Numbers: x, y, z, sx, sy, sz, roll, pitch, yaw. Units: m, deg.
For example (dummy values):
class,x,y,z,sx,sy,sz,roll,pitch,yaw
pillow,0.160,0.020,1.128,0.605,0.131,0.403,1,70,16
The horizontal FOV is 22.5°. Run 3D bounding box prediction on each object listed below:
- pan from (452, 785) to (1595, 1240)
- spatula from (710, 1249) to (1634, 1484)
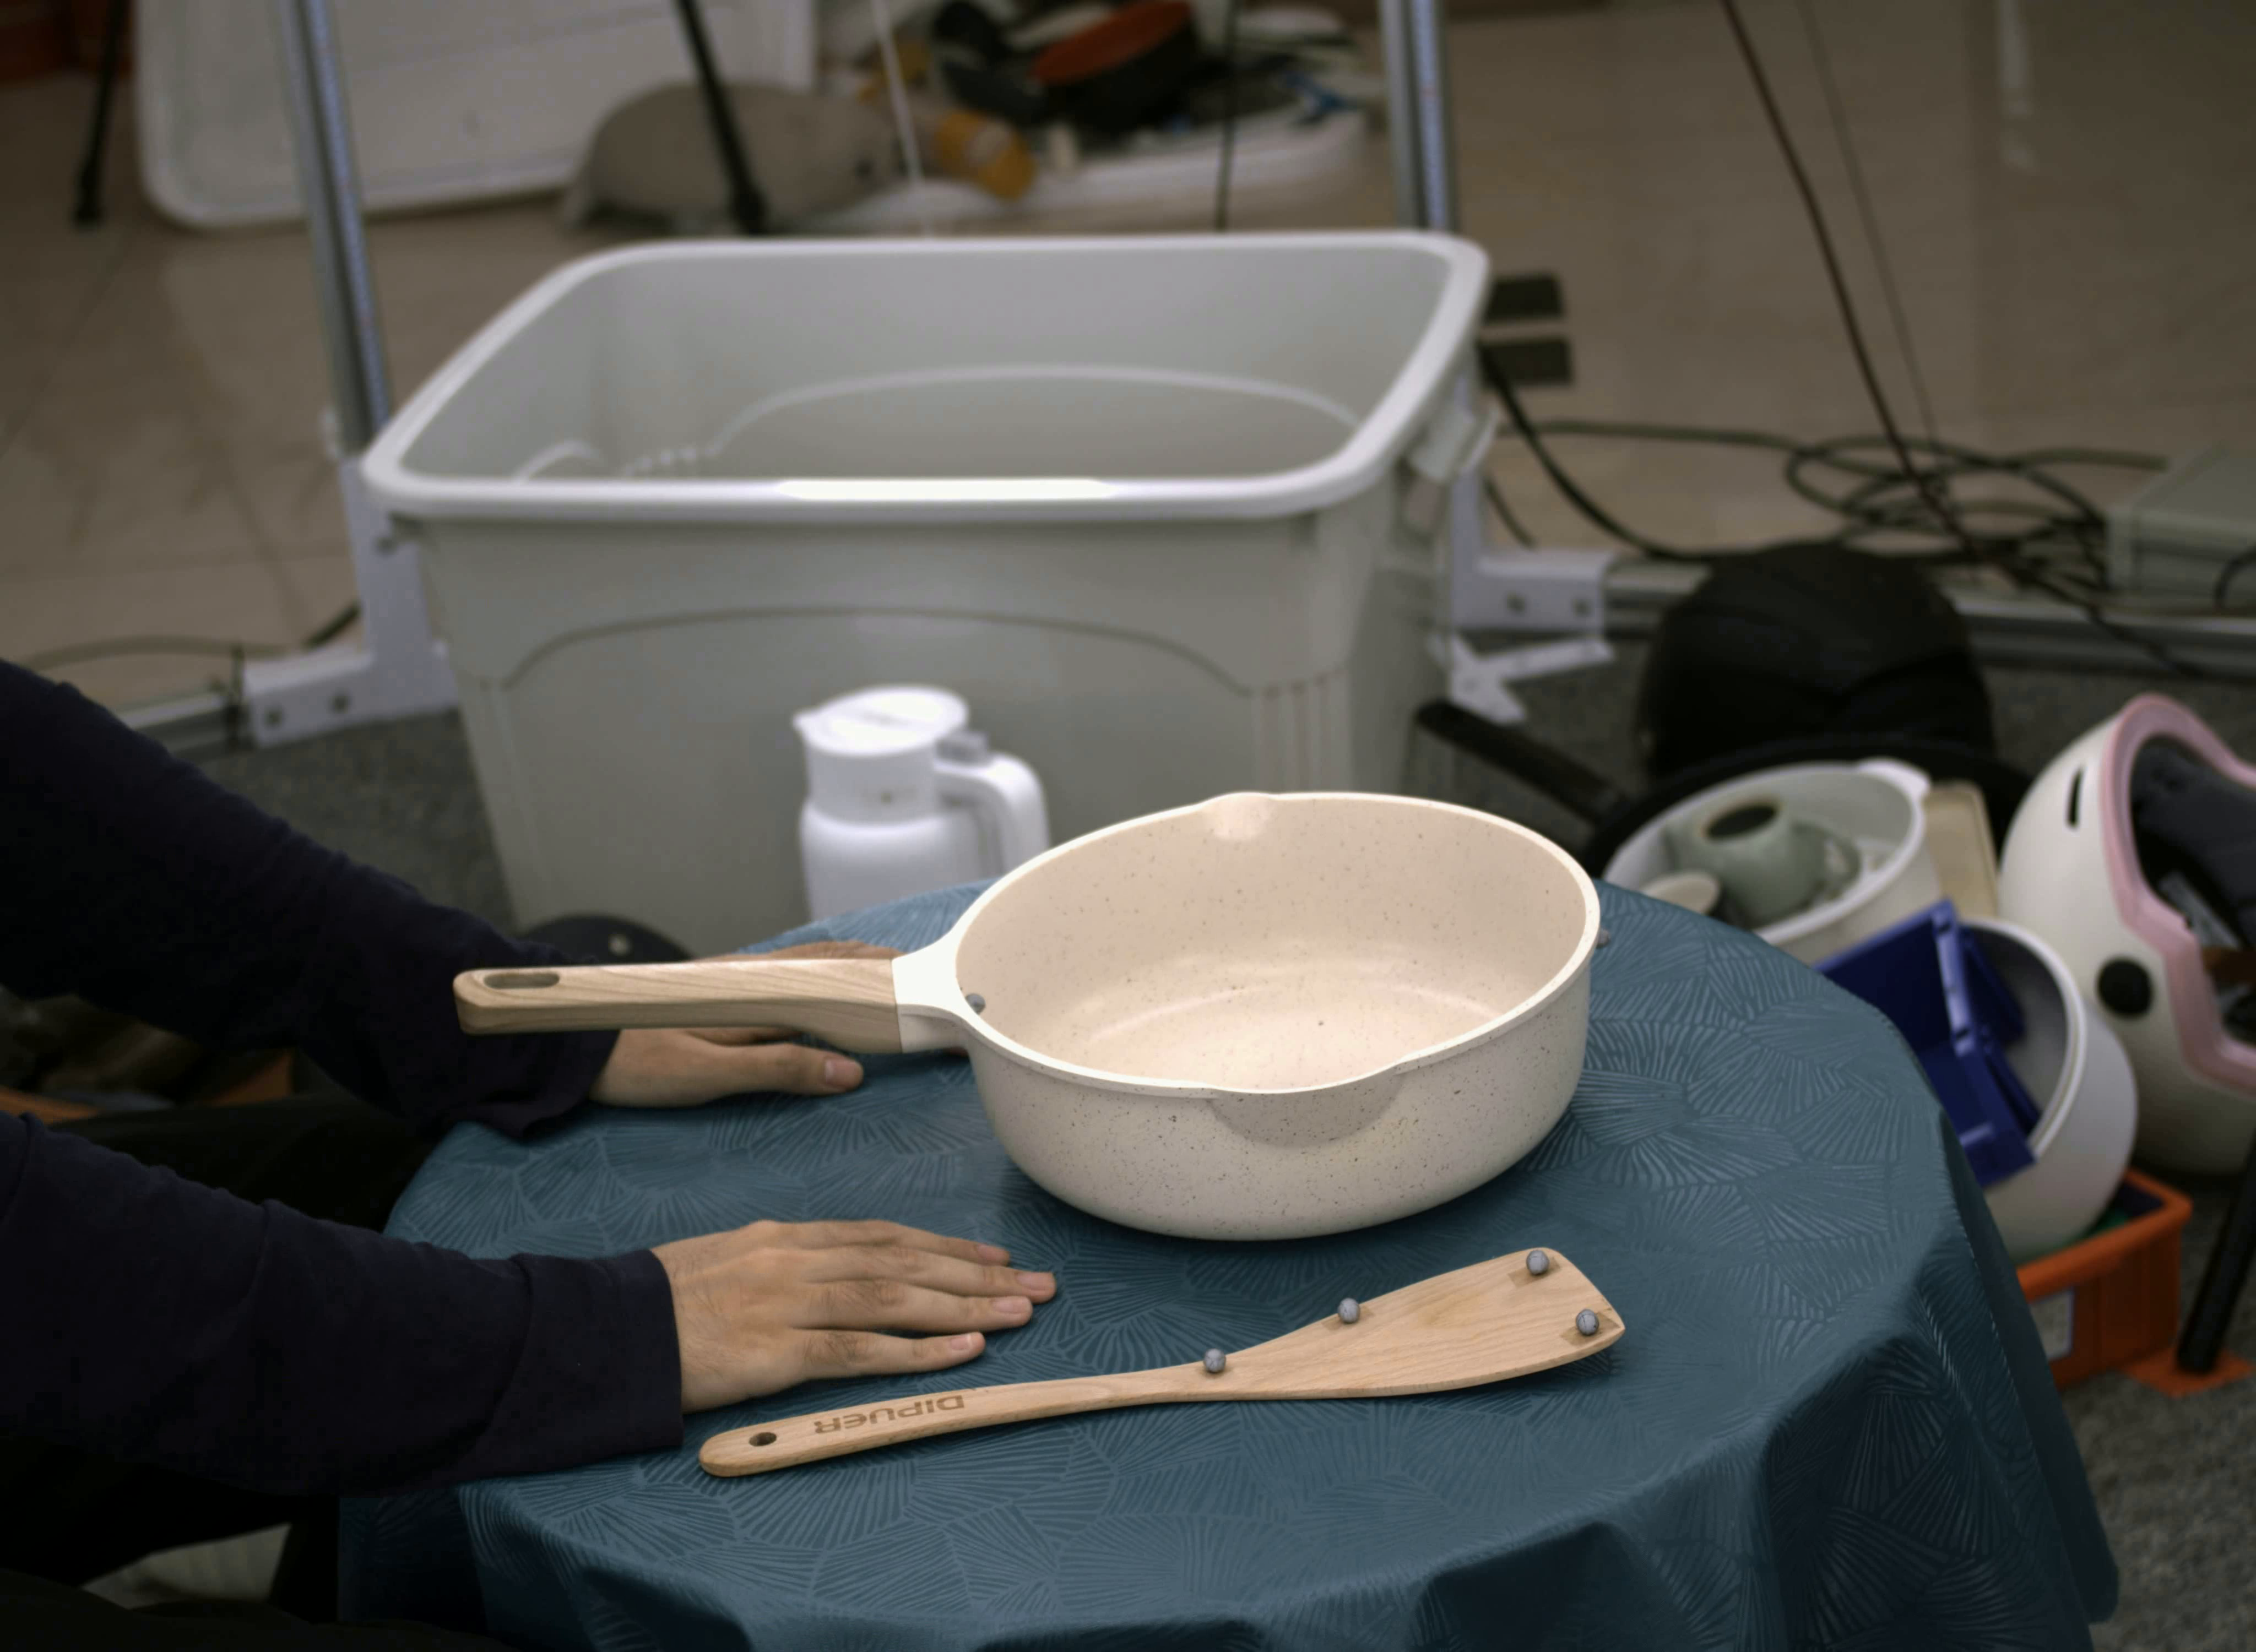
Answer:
class,x,y,z,sx,sy,sz,roll,pitch,yaw
pan,-0.035,0.081,2.166,0.434,0.103,0.259,-8,26,-3
spatula,0.013,0.195,2.011,0.327,0.017,0.079,-9,25,-4
